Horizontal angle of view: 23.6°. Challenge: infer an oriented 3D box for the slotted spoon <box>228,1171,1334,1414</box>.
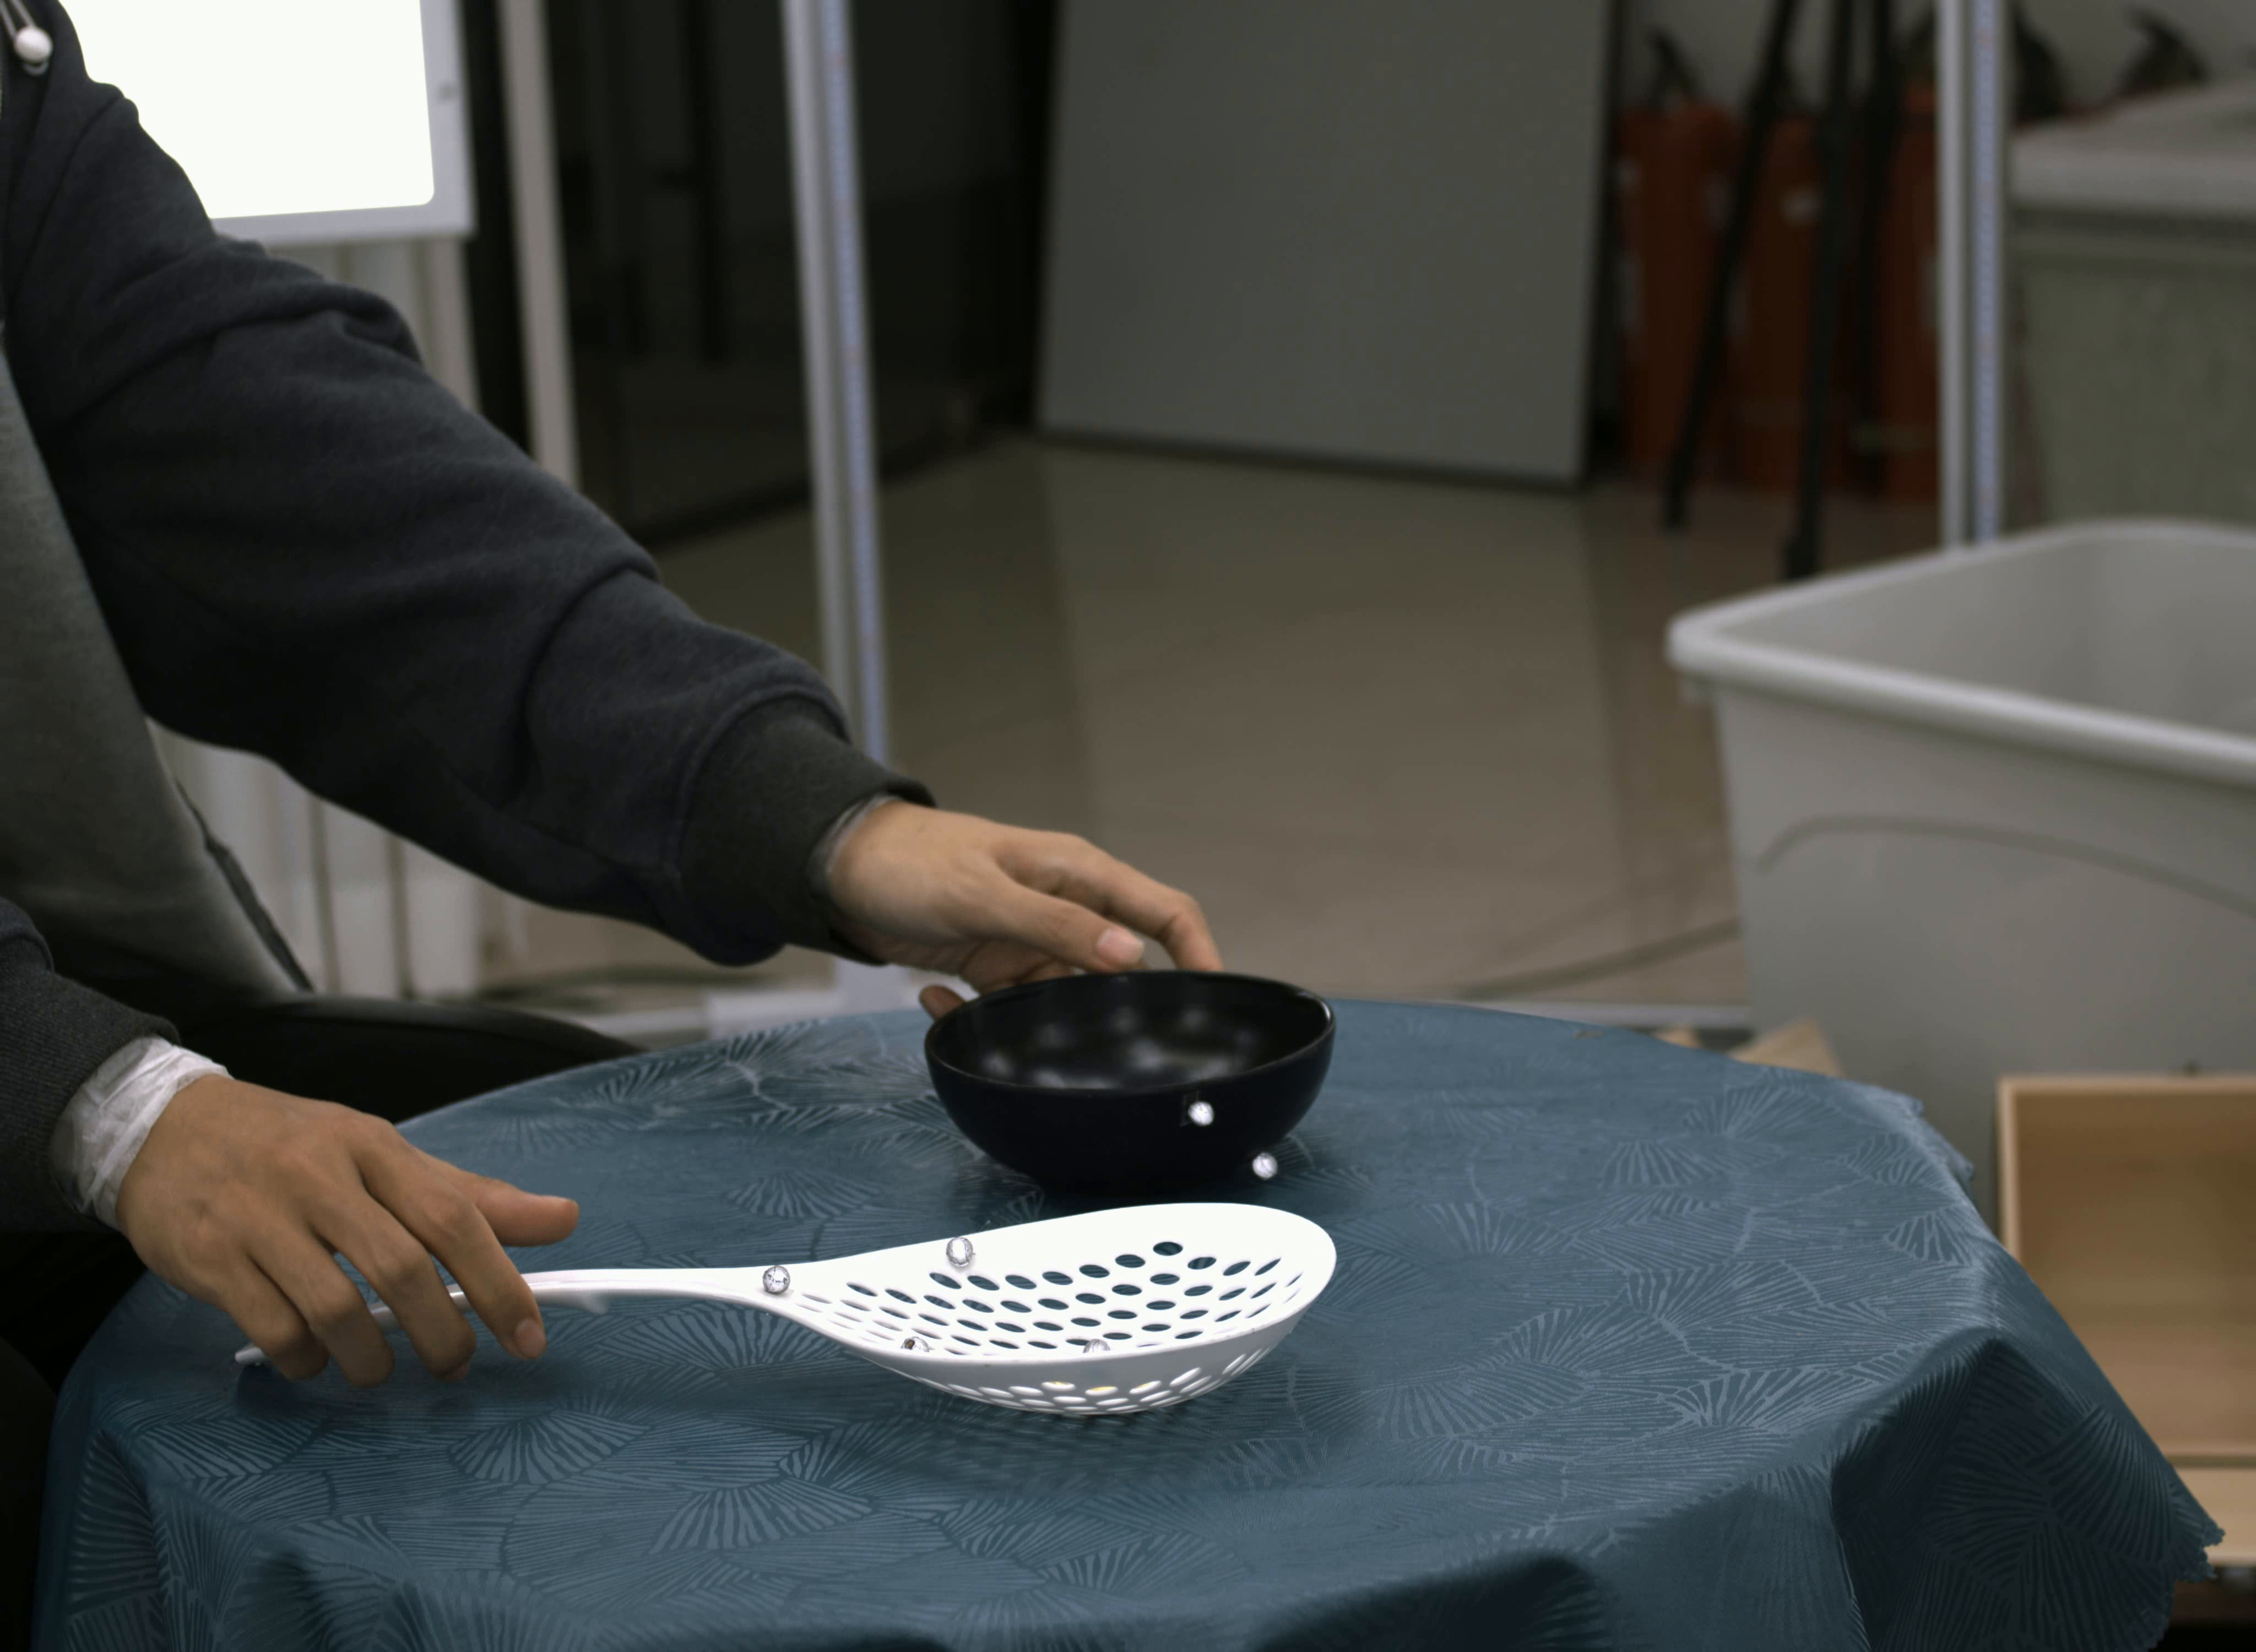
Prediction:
[{"bbox_3d":[-0.107,0.148,1.607,0.346,0.051,0.136,-1,17,17],"label":"slotted spoon"}]
